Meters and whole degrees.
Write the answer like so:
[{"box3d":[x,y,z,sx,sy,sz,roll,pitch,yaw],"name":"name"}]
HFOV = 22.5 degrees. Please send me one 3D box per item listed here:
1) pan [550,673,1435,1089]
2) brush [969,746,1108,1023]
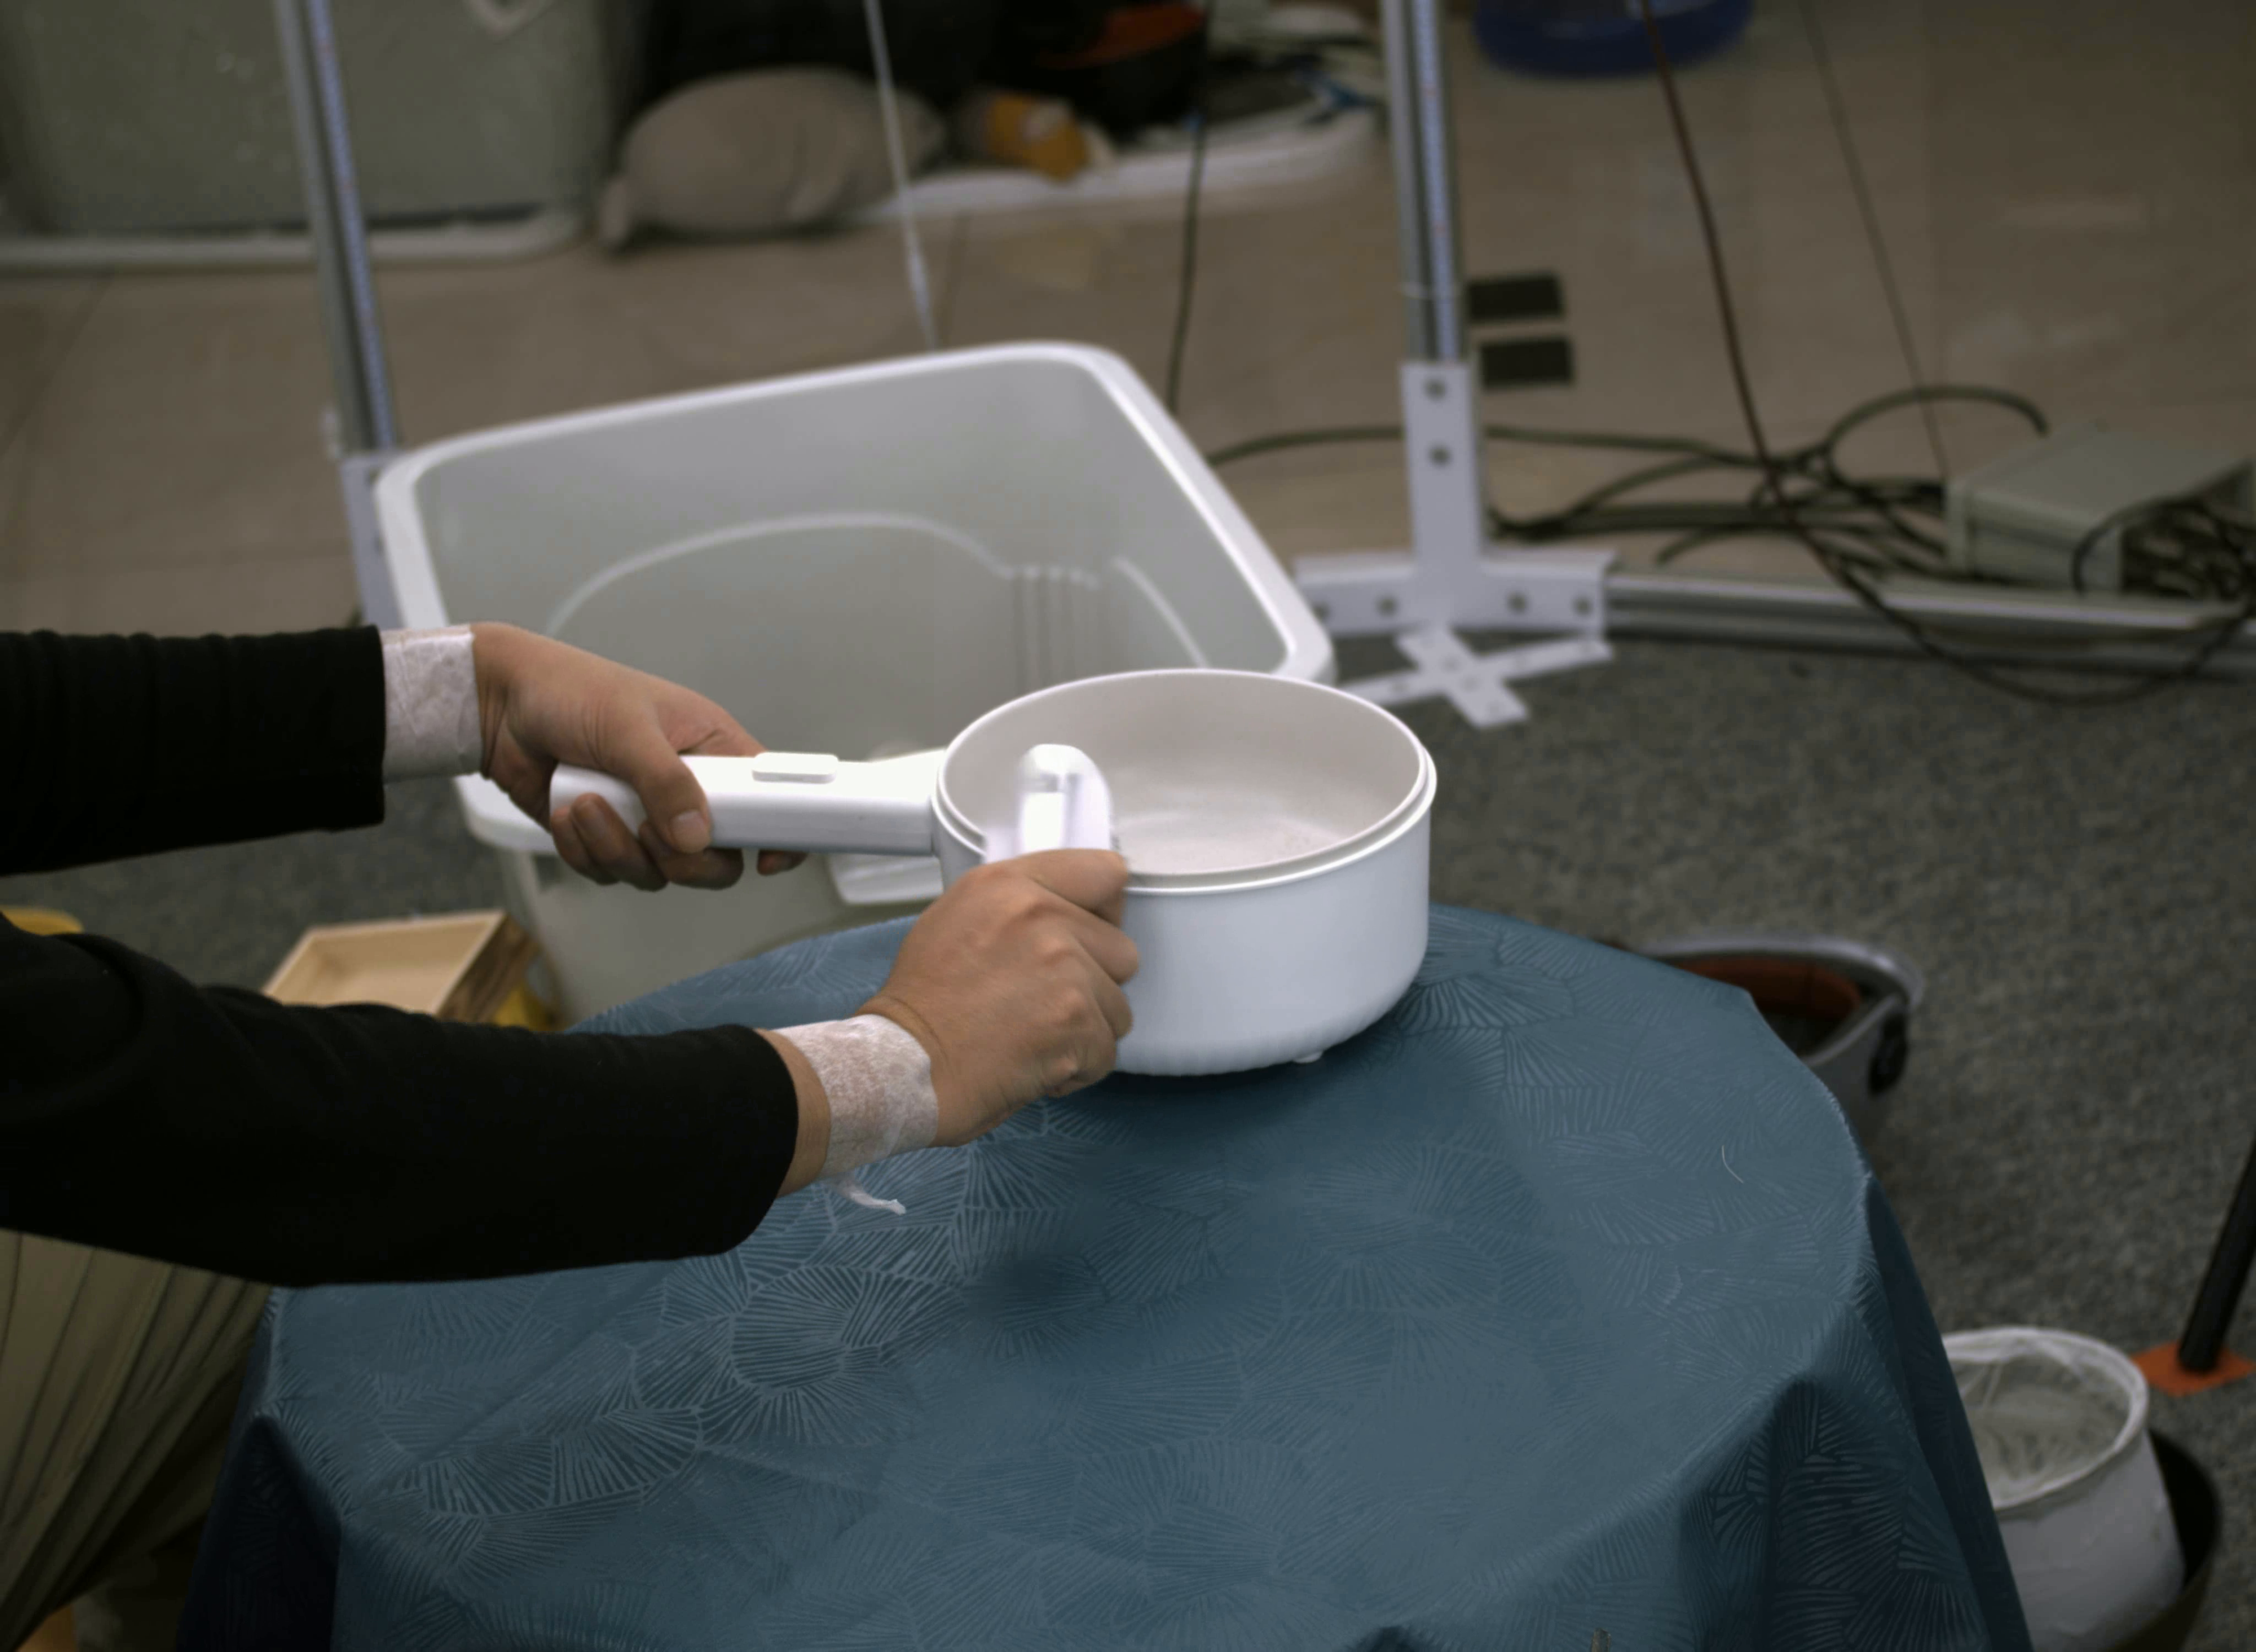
[{"box3d":[-0.053,0.024,2.272,0.354,0.104,0.198,1,28,7],"name":"pan"},{"box3d":[-0.035,0.017,2.131,0.050,0.098,0.073,3,-17,4],"name":"brush"}]
